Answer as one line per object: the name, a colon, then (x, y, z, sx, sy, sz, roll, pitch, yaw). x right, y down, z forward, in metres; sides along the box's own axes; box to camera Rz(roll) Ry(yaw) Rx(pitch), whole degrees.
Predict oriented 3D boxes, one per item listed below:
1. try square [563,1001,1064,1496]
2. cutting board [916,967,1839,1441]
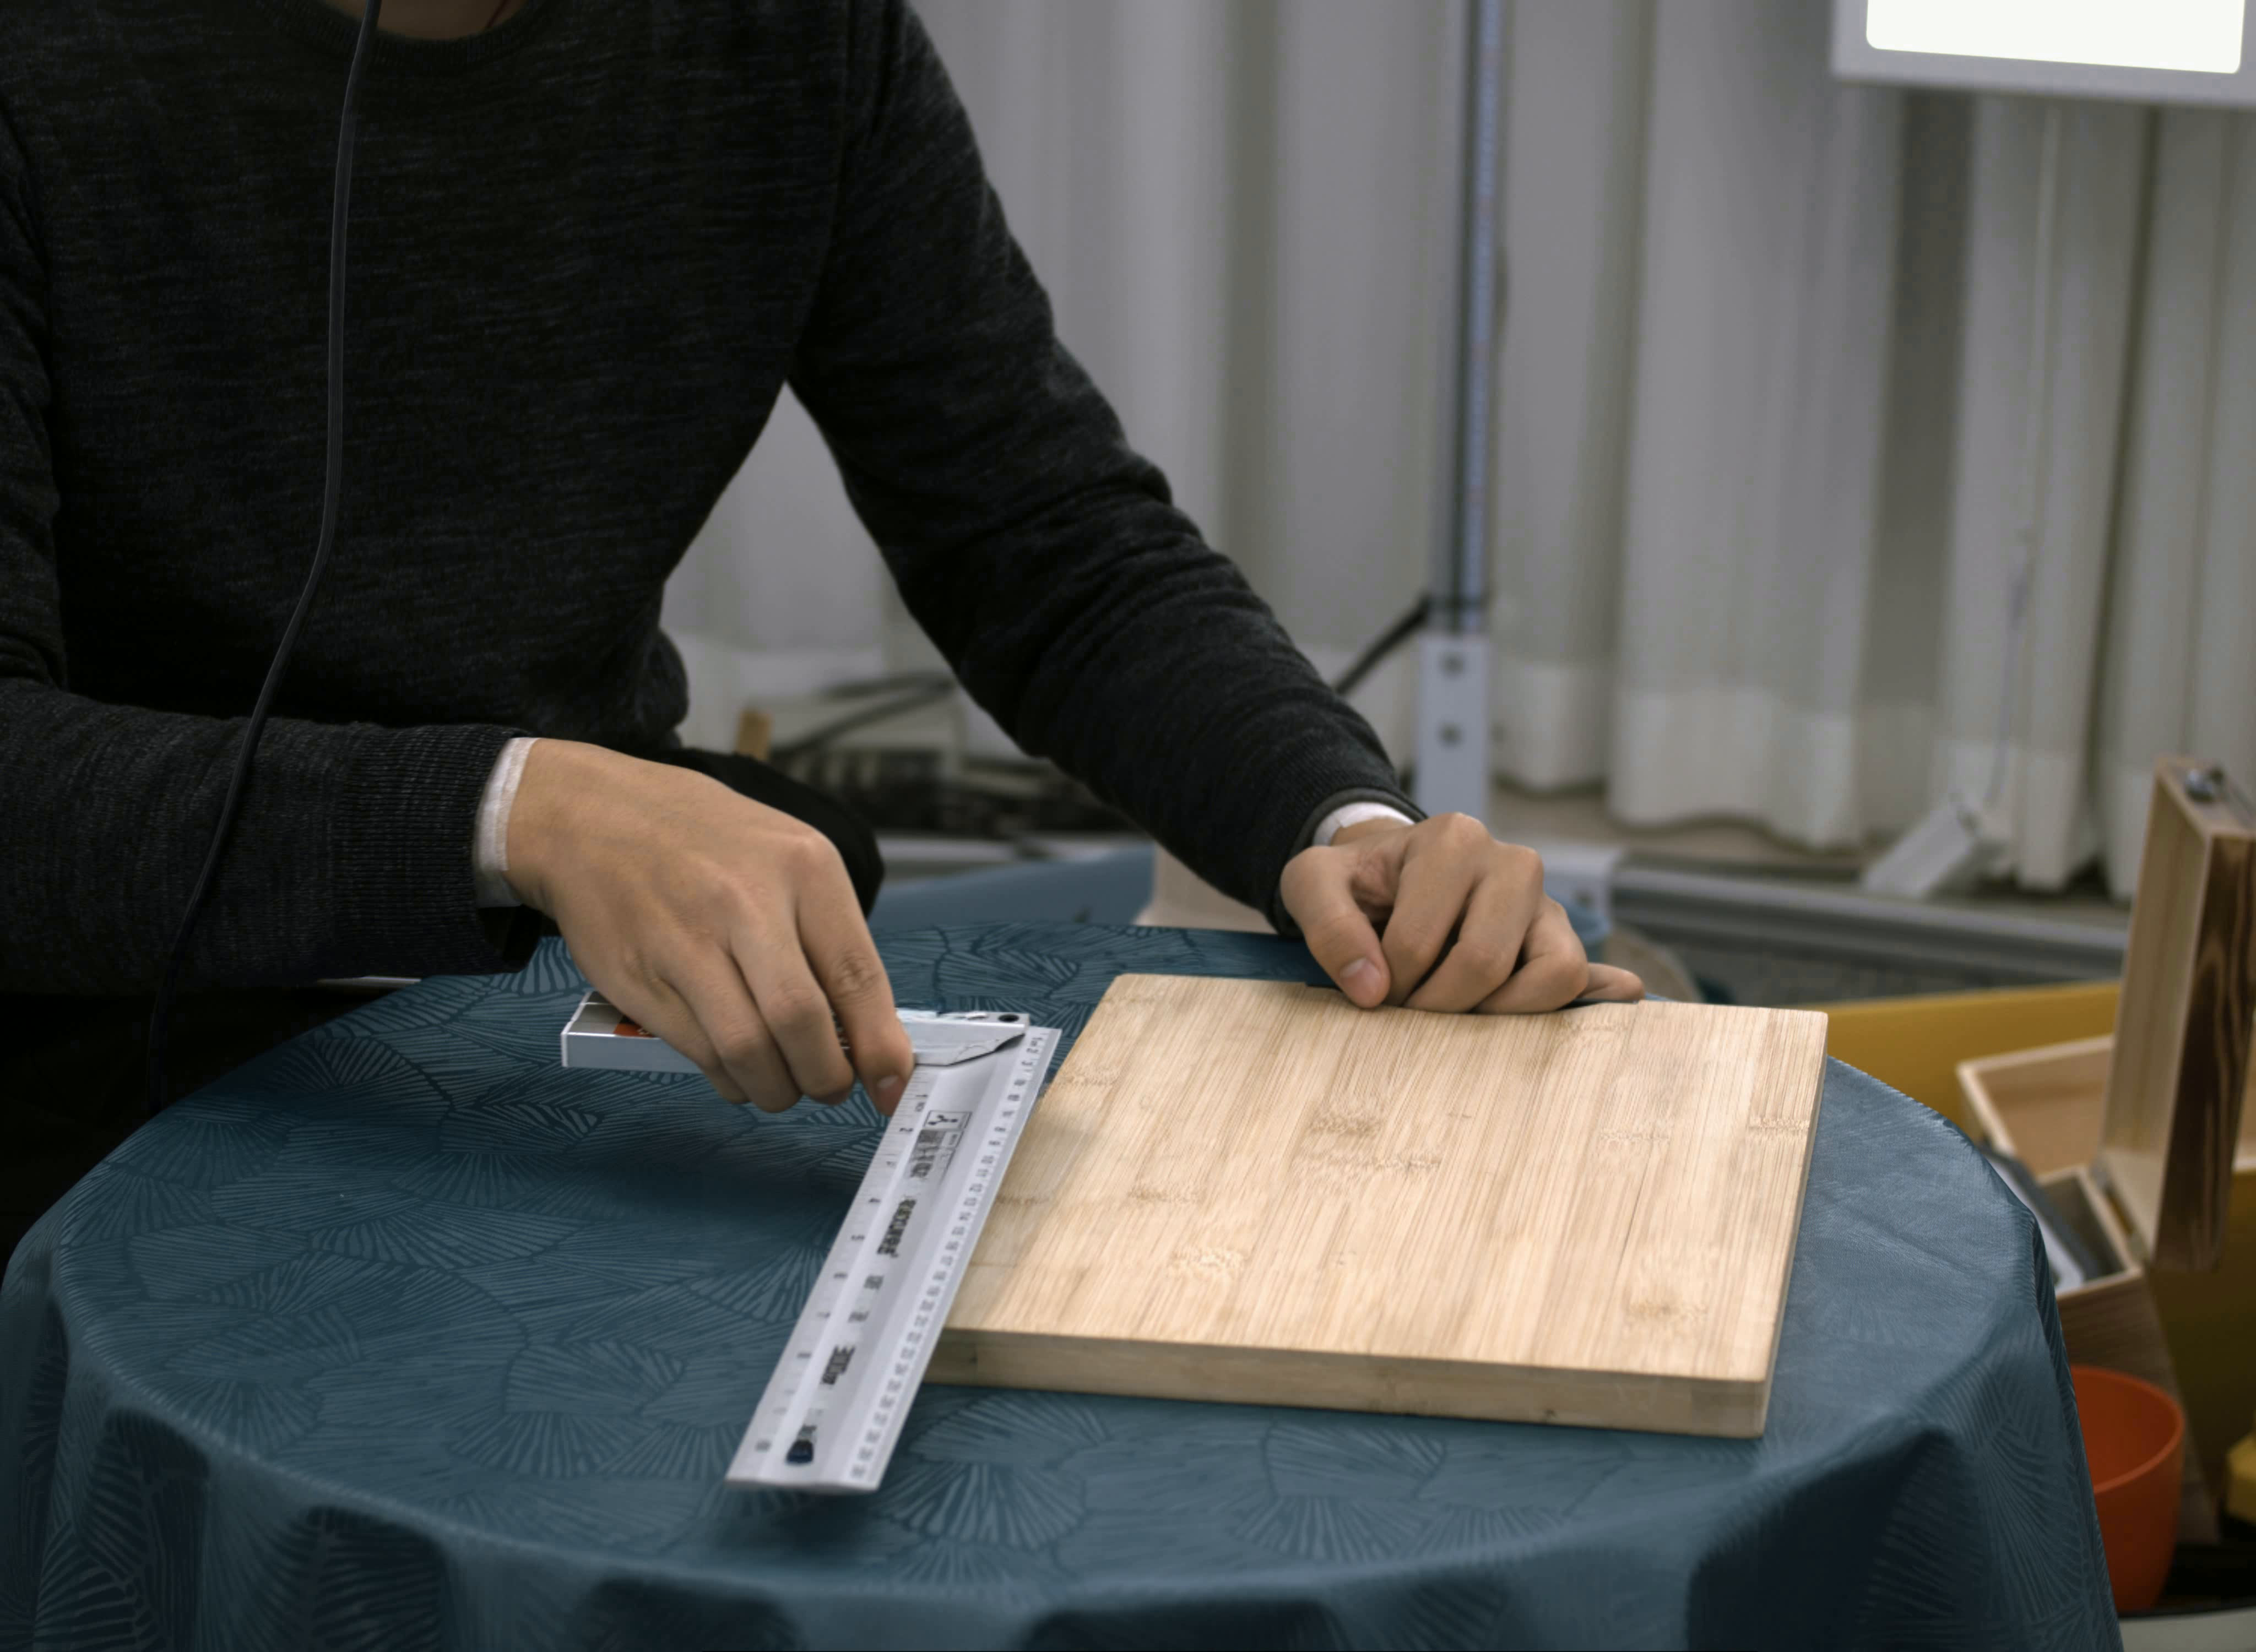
try square: (-0.115, 0.114, 1.492, 0.151, 0.016, 0.311, 1, 21, 8)
cutting board: (0.087, 0.108, 1.610, 0.249, 0.024, 0.348, 3, 16, 8)
